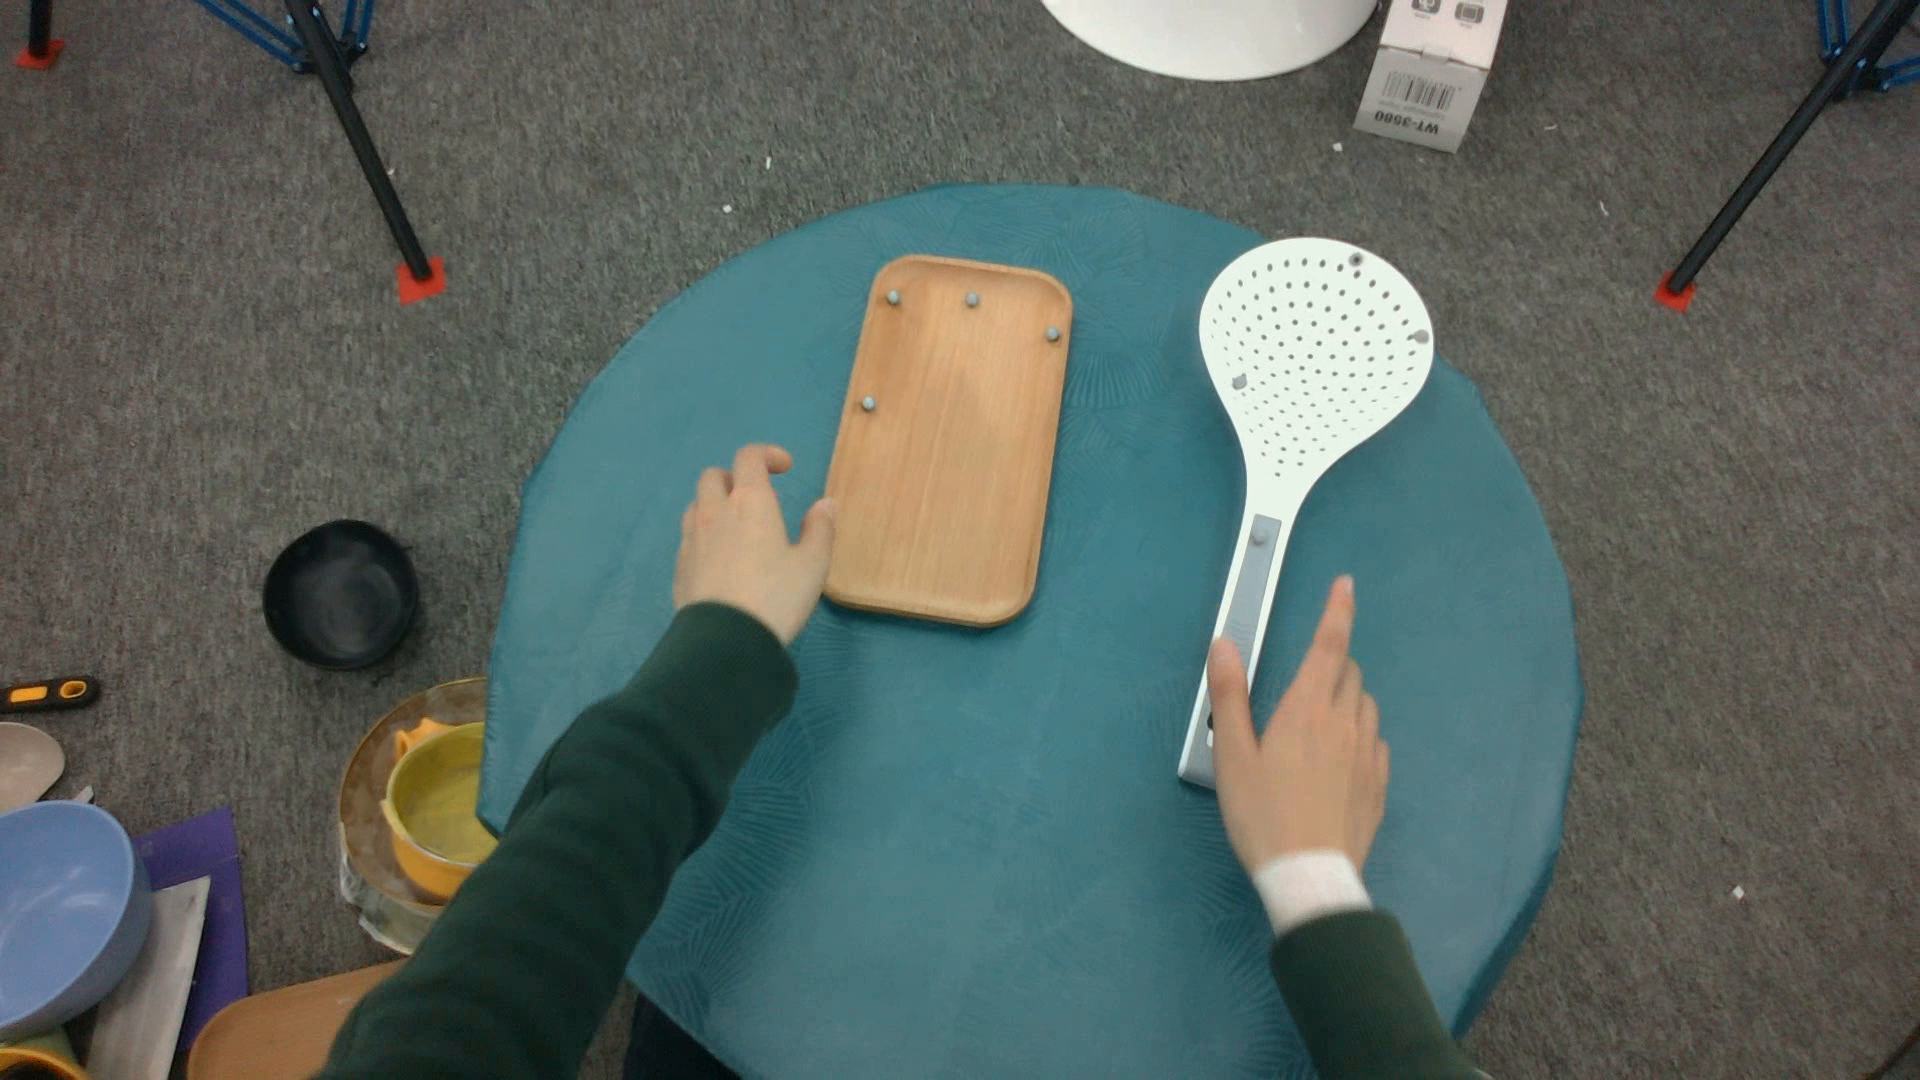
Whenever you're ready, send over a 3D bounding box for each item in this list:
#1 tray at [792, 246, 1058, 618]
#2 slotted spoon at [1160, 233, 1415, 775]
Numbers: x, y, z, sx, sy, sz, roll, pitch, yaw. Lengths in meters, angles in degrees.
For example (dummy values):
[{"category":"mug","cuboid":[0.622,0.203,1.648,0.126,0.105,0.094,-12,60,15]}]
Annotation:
[{"category":"tray","cuboid":[-0.016,-0.070,0.813,0.130,0.023,0.252,8,61,4]},{"category":"slotted spoon","cuboid":[0.171,-0.032,0.785,0.136,0.045,0.351,16,61,9]}]
